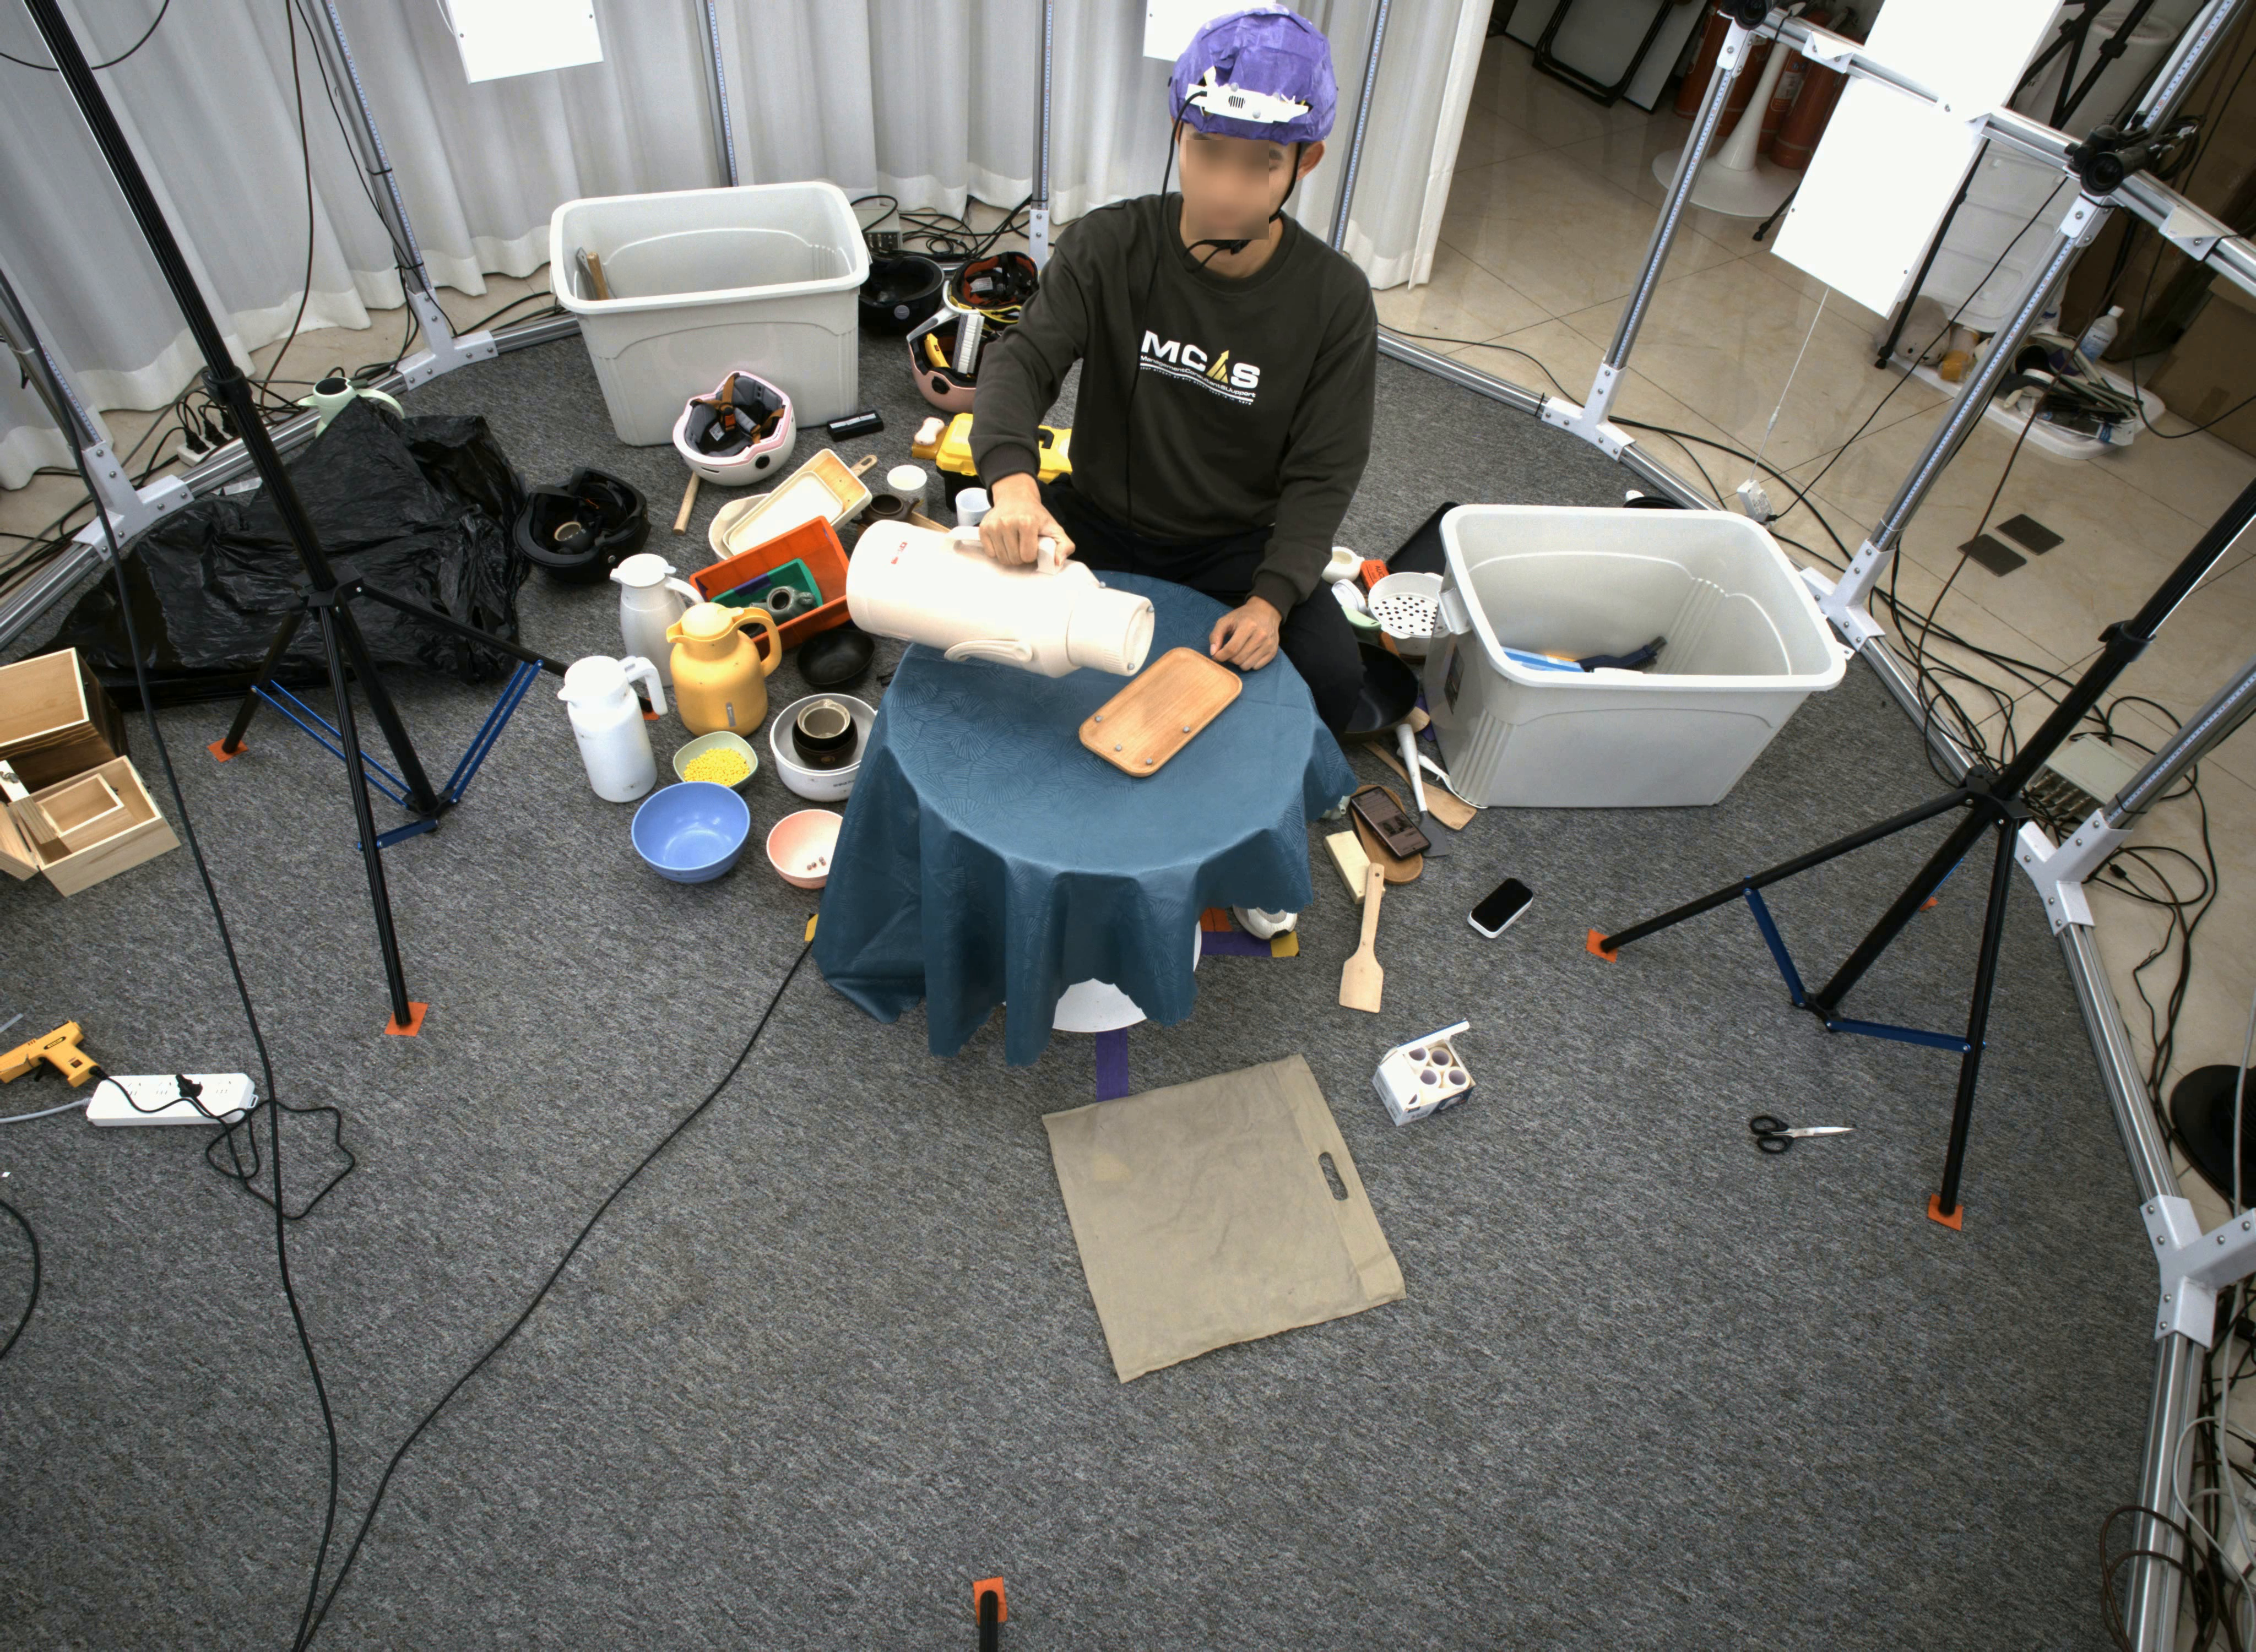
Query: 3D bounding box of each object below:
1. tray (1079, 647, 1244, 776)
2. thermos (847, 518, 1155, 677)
[{"bbox_3d":[0.049,-0.163,1.799,0.132,0.022,0.253,35,54,21],"label":"tray"},{"bbox_3d":[-0.167,-0.309,1.723,0.409,0.202,0.178,17,48,21],"label":"thermos"}]
